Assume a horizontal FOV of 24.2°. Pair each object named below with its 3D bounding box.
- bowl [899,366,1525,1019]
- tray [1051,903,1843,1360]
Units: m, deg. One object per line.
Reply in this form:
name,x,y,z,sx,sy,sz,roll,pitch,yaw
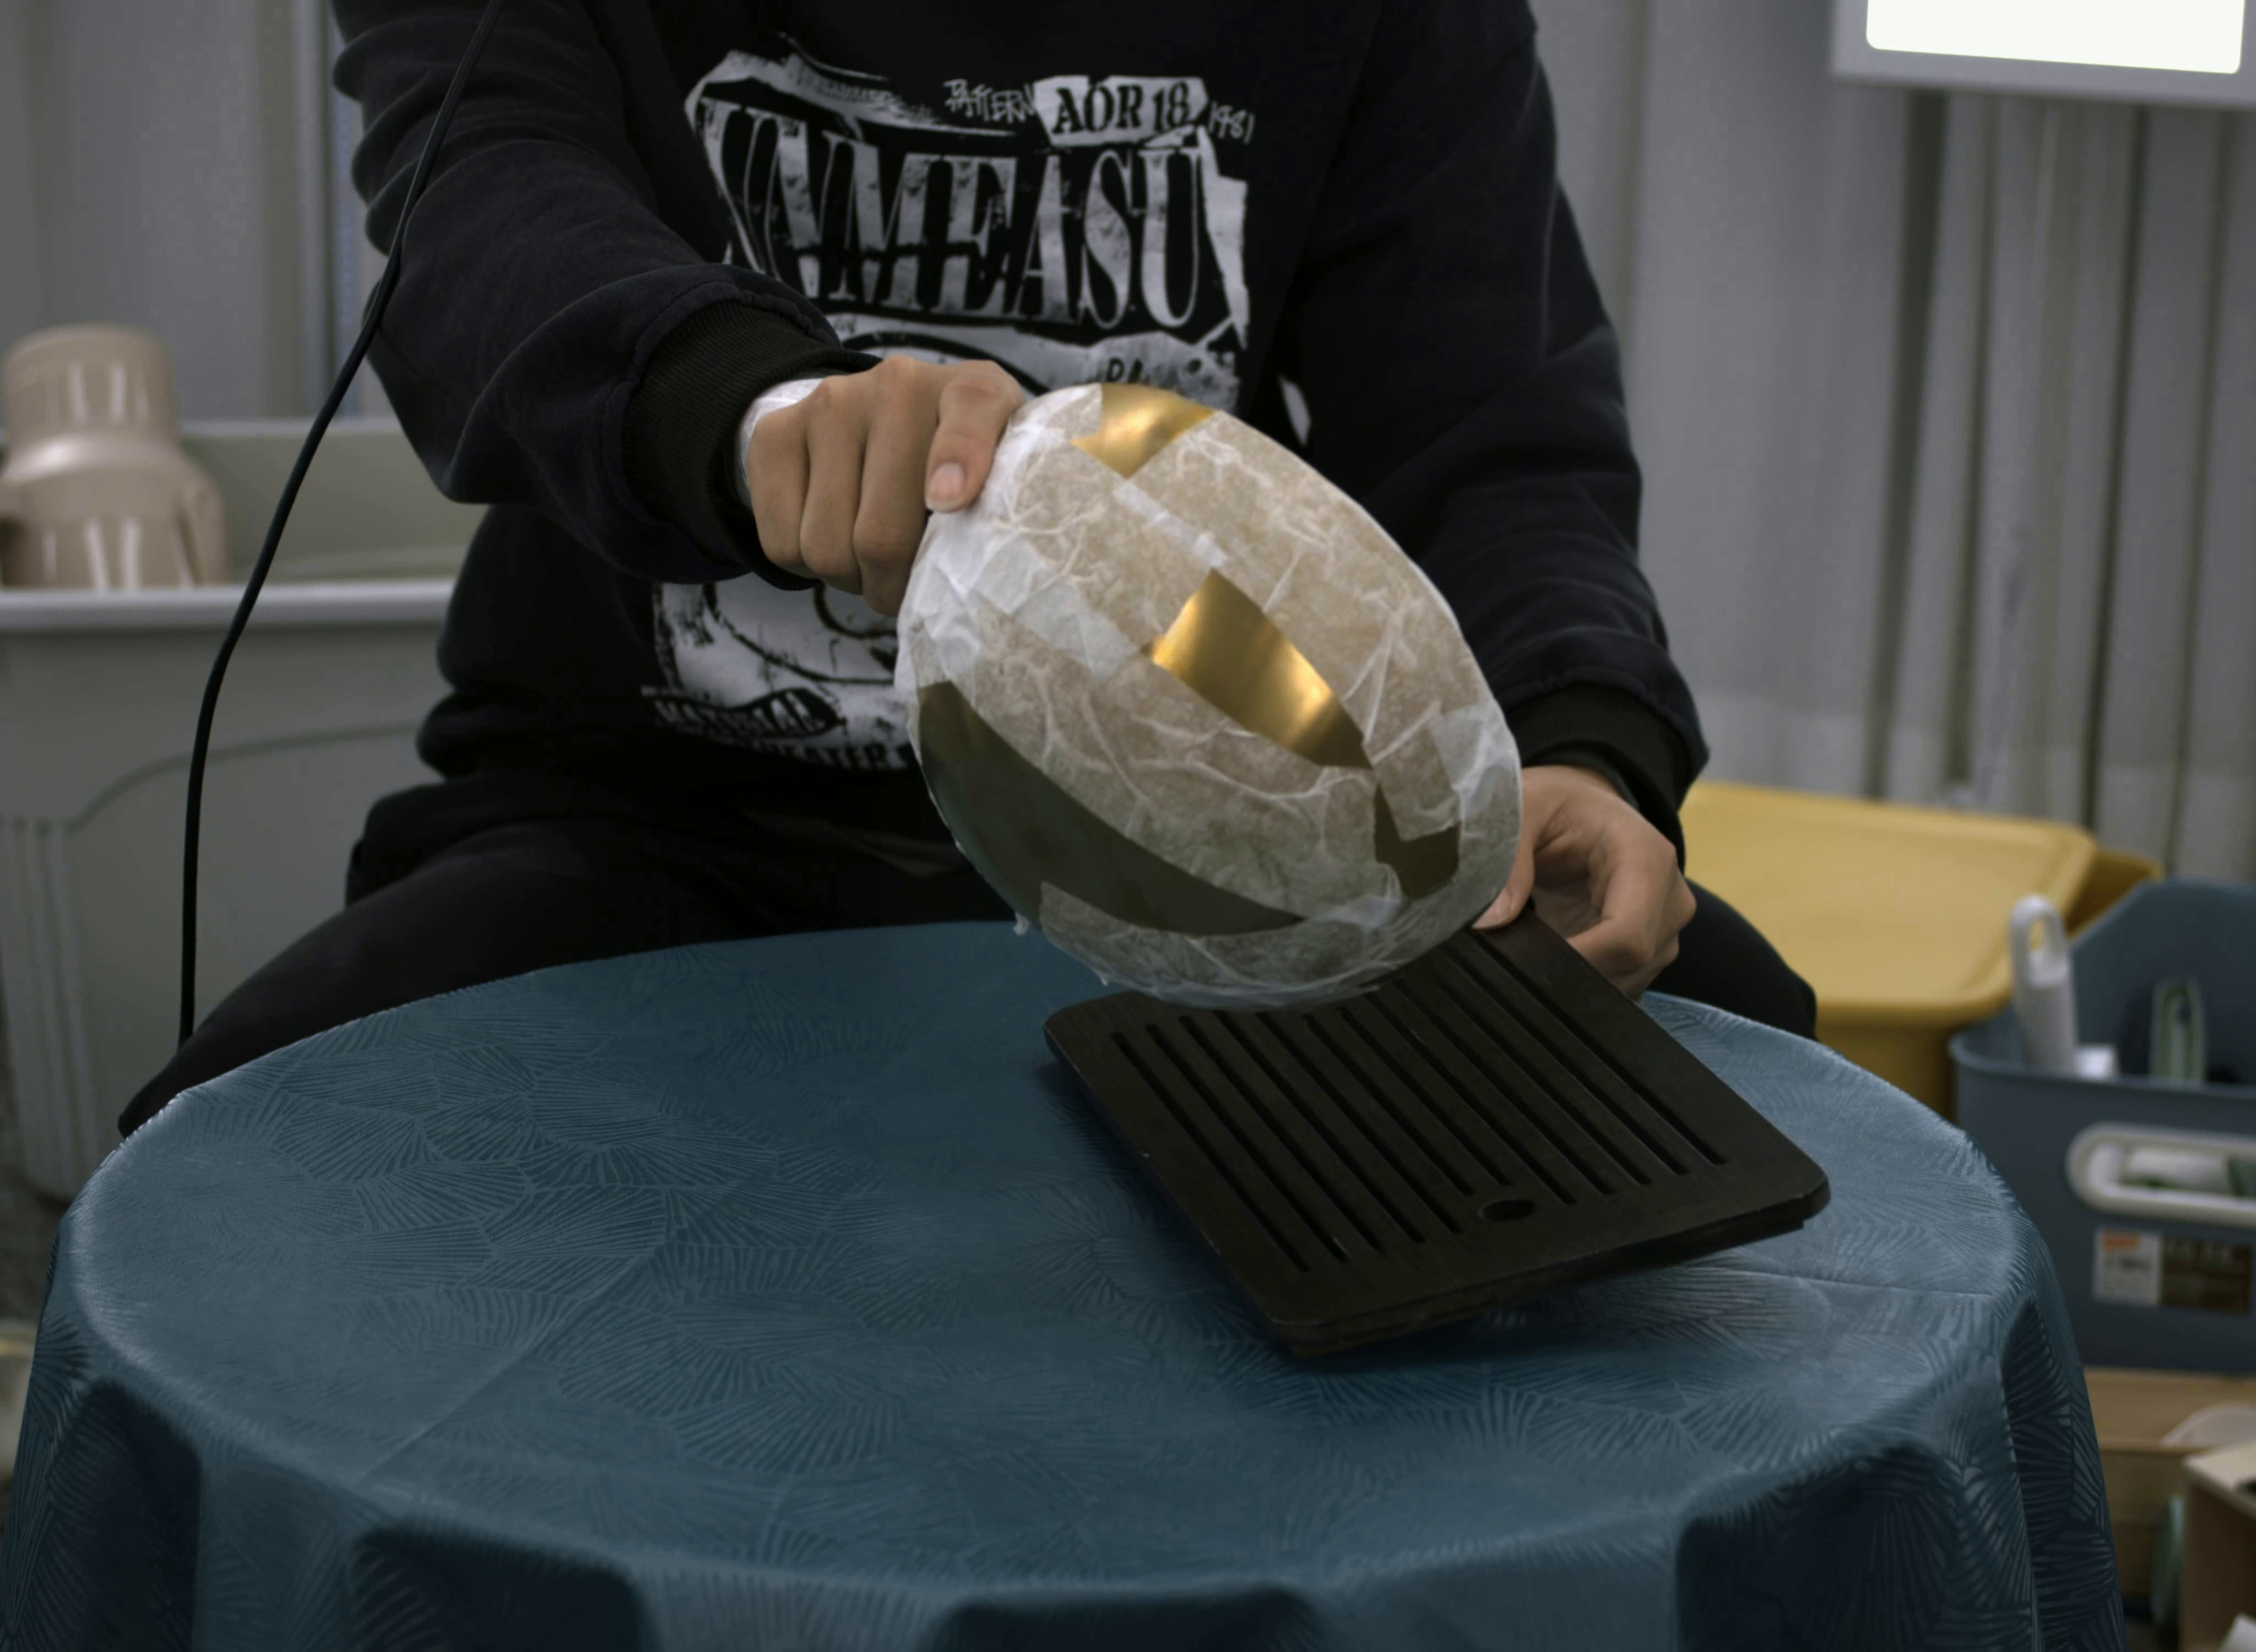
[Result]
bowl,0.005,-0.017,1.502,0.212,0.217,0.094,16,49,41
tray,0.090,0.090,1.628,0.170,0.019,0.303,-13,18,-11
